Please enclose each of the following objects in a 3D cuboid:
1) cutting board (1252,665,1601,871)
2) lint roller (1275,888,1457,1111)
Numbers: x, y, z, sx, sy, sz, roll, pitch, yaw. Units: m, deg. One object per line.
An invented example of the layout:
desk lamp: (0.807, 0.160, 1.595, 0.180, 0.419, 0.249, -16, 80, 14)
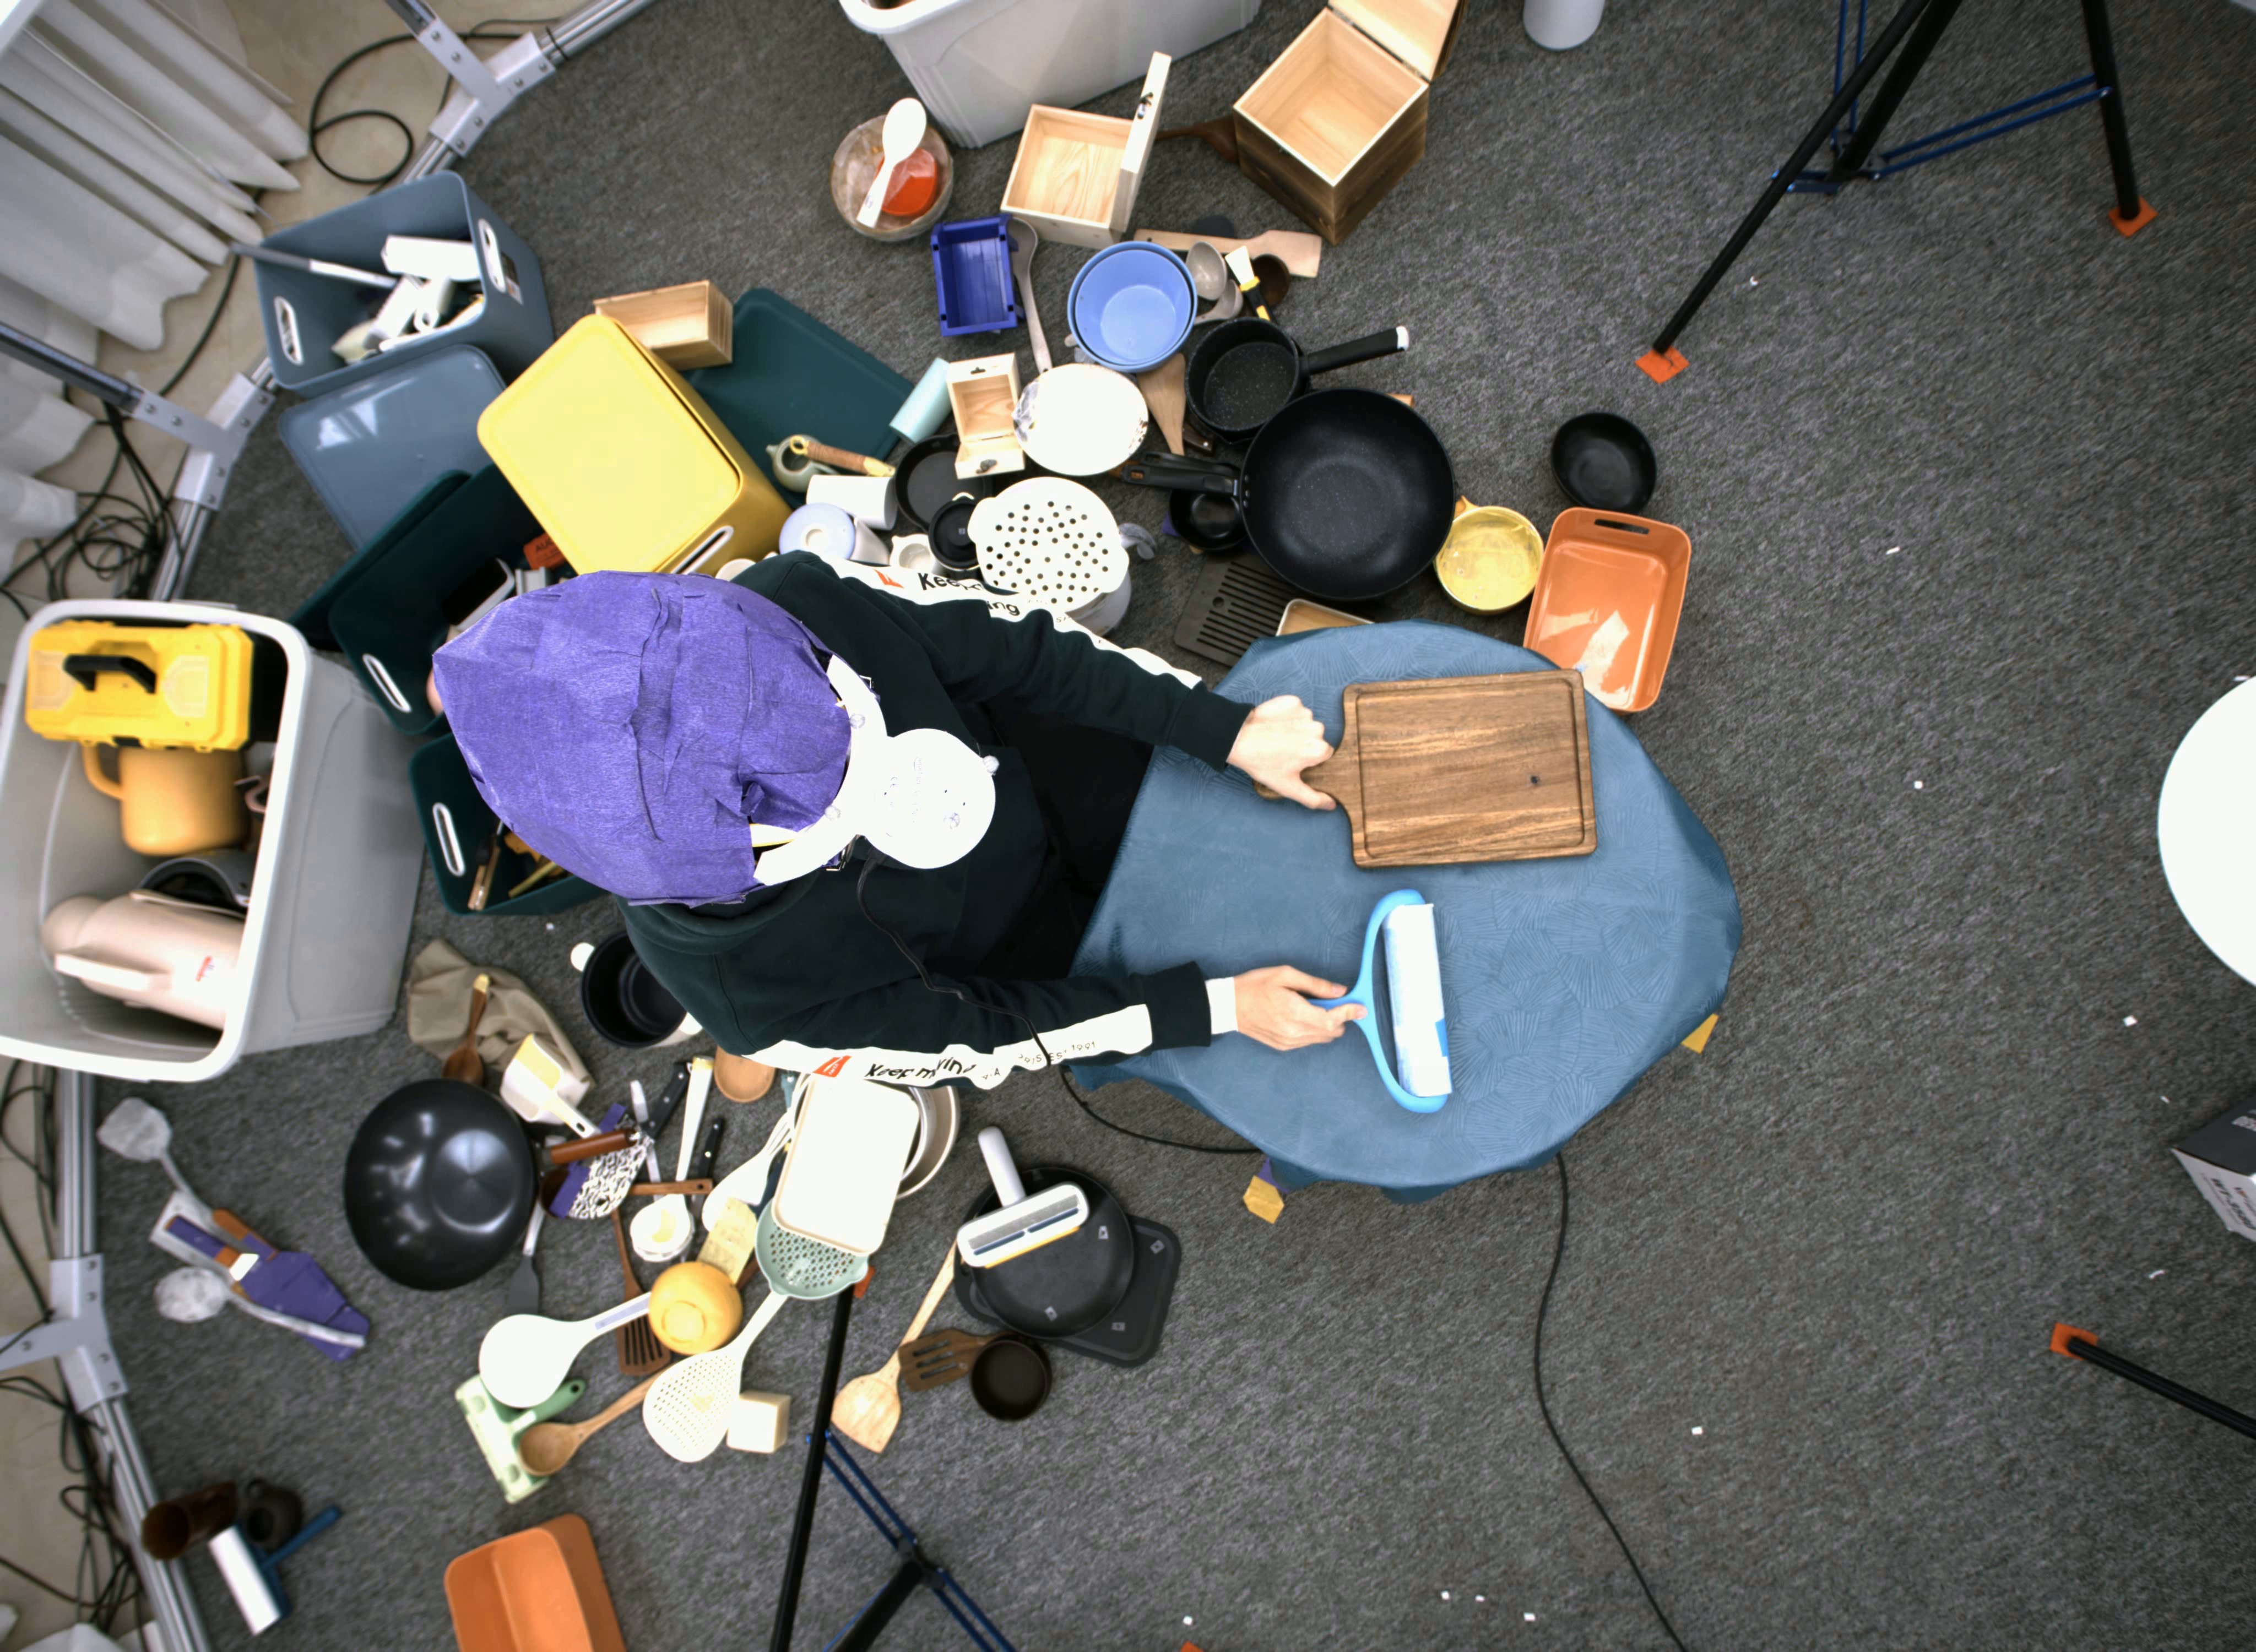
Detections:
cutting board: (0.306, -0.059, 1.438, 0.353, 0.023, 0.200, -4, 86, 8)
lint roller: (0.240, 0.185, 1.426, 0.181, 0.068, 0.228, -9, 87, 9)
